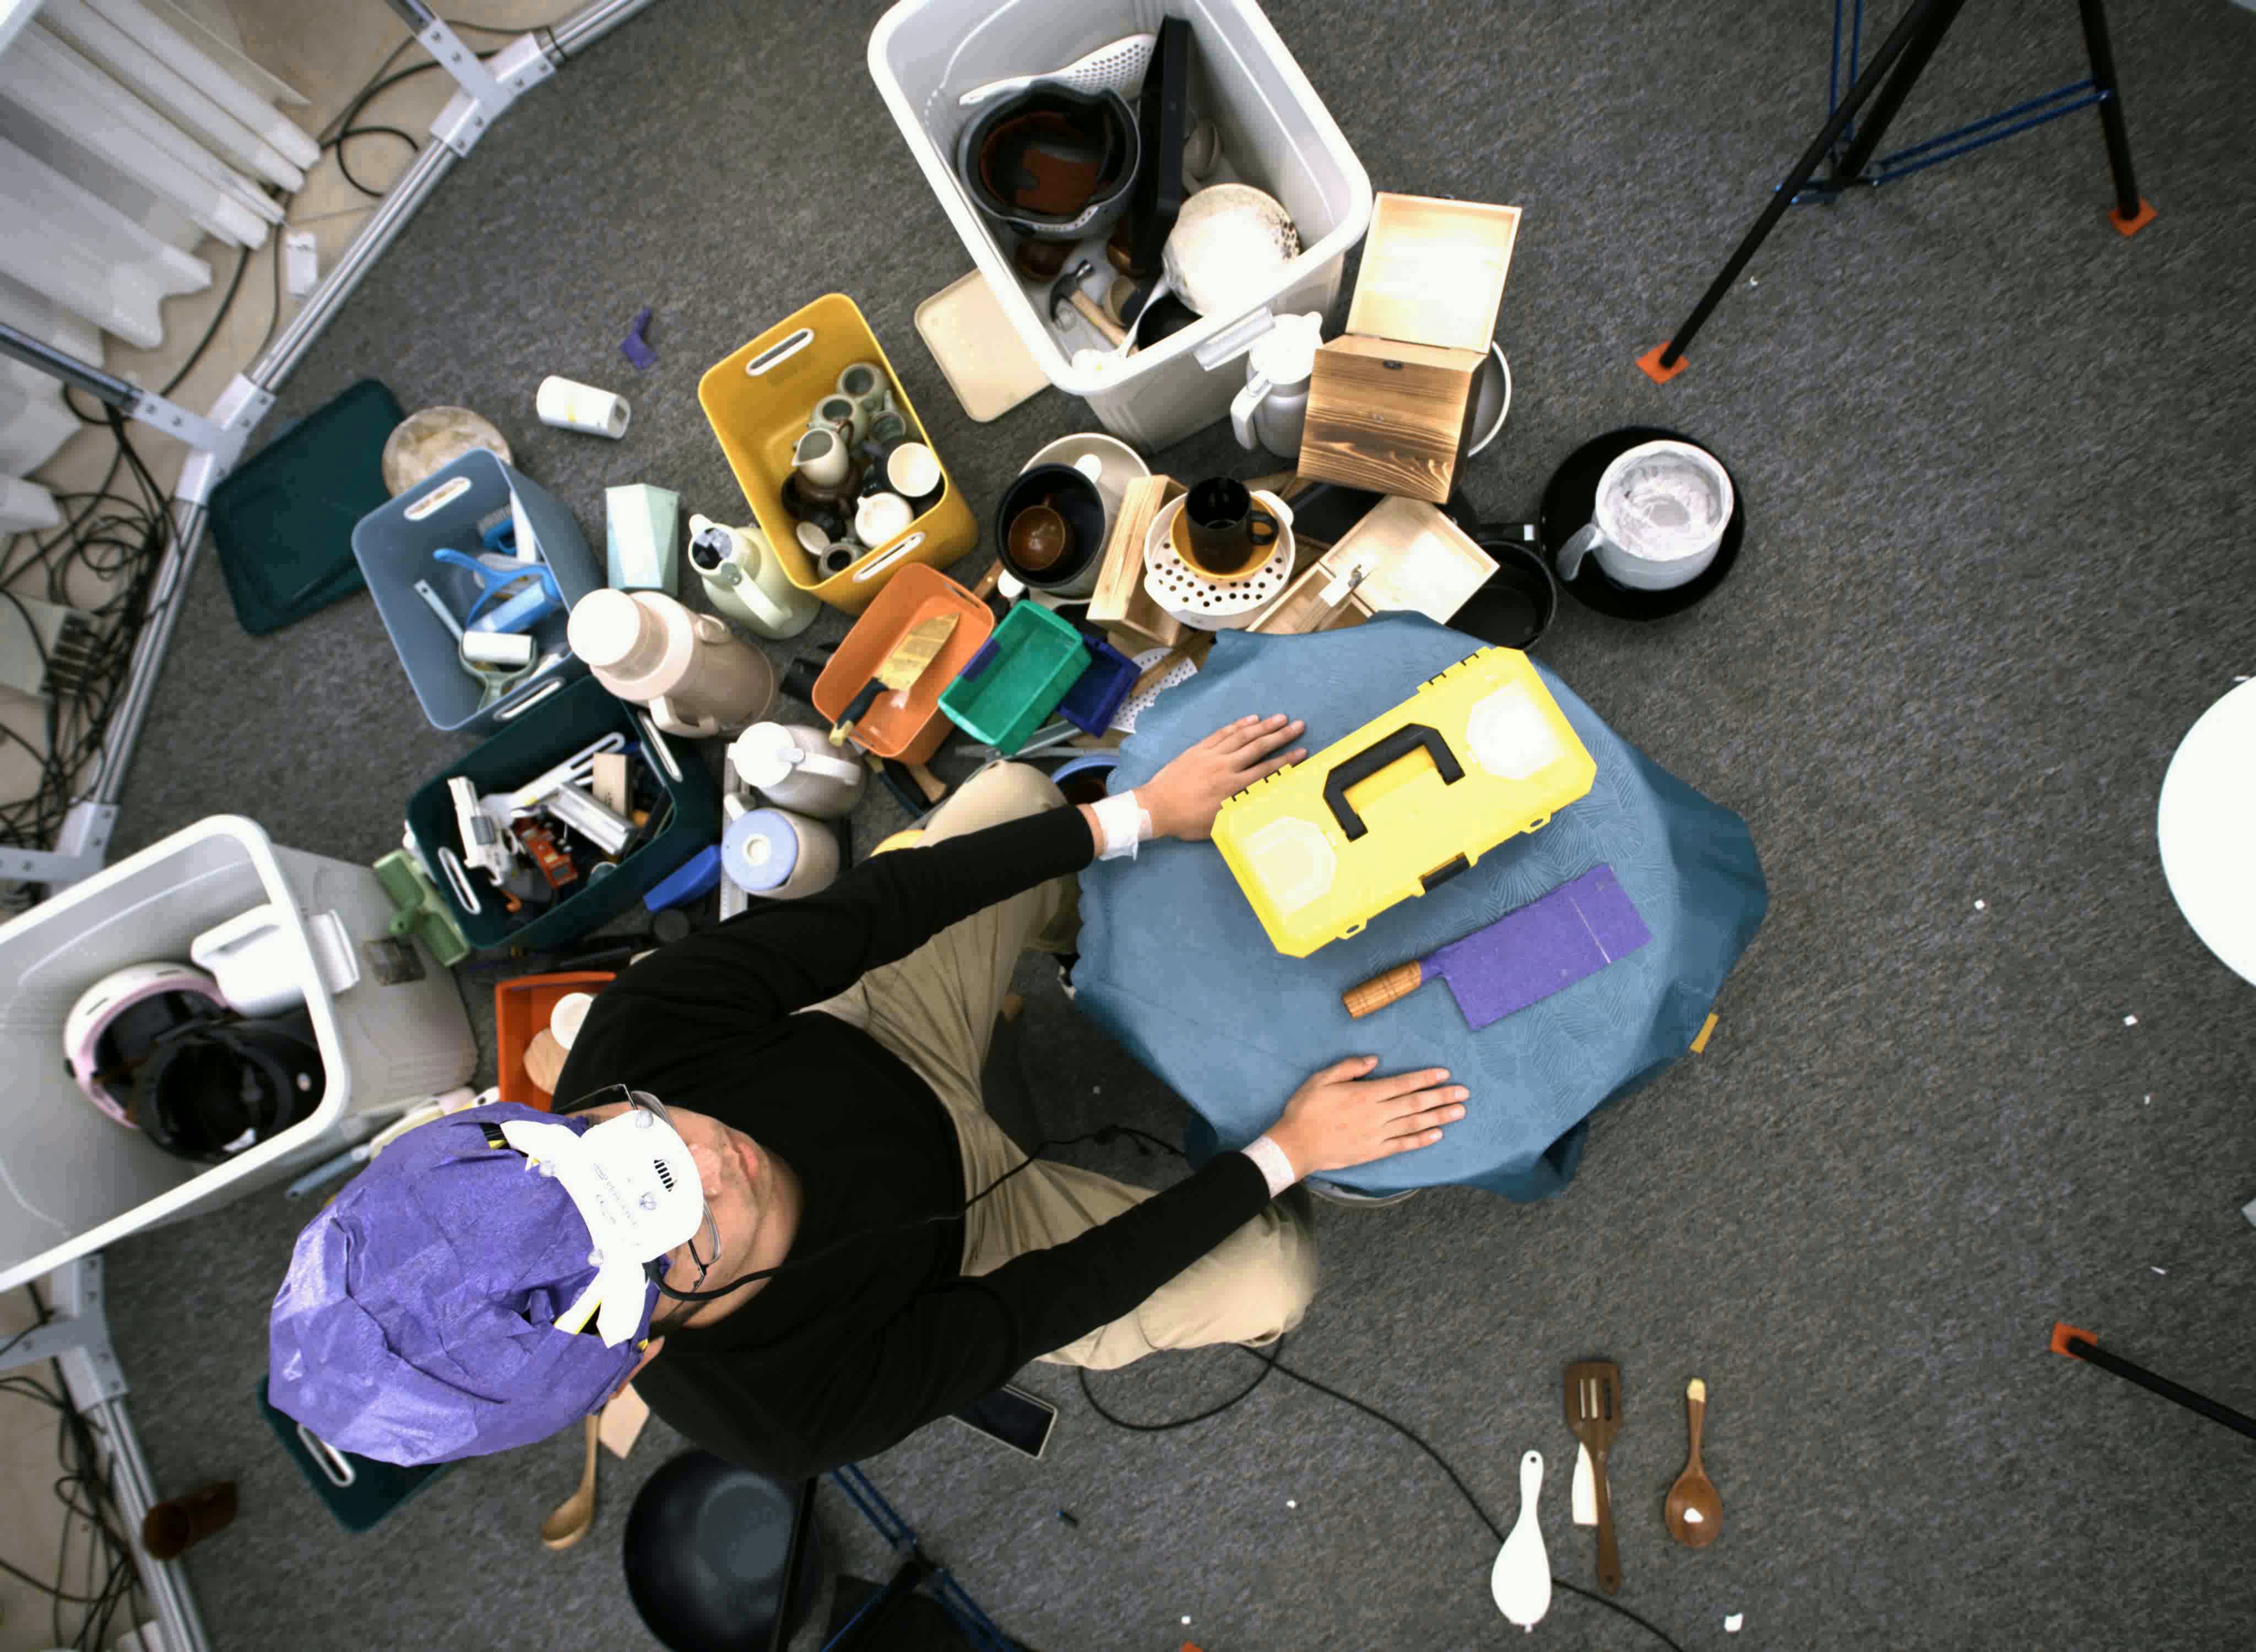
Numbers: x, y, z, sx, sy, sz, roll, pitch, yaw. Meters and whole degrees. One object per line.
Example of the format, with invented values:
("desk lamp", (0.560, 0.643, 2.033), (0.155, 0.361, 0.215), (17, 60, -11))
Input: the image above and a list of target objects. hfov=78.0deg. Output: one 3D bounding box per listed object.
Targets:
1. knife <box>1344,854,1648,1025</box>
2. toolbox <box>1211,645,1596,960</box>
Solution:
("knife", (0.381, 0.143, 1.422), (0.317, 0.032, 0.103), (-29, 82, 7))
("toolbox", (0.272, -0.018, 1.377), (0.353, 0.173, 0.180), (-31, 80, 8))
